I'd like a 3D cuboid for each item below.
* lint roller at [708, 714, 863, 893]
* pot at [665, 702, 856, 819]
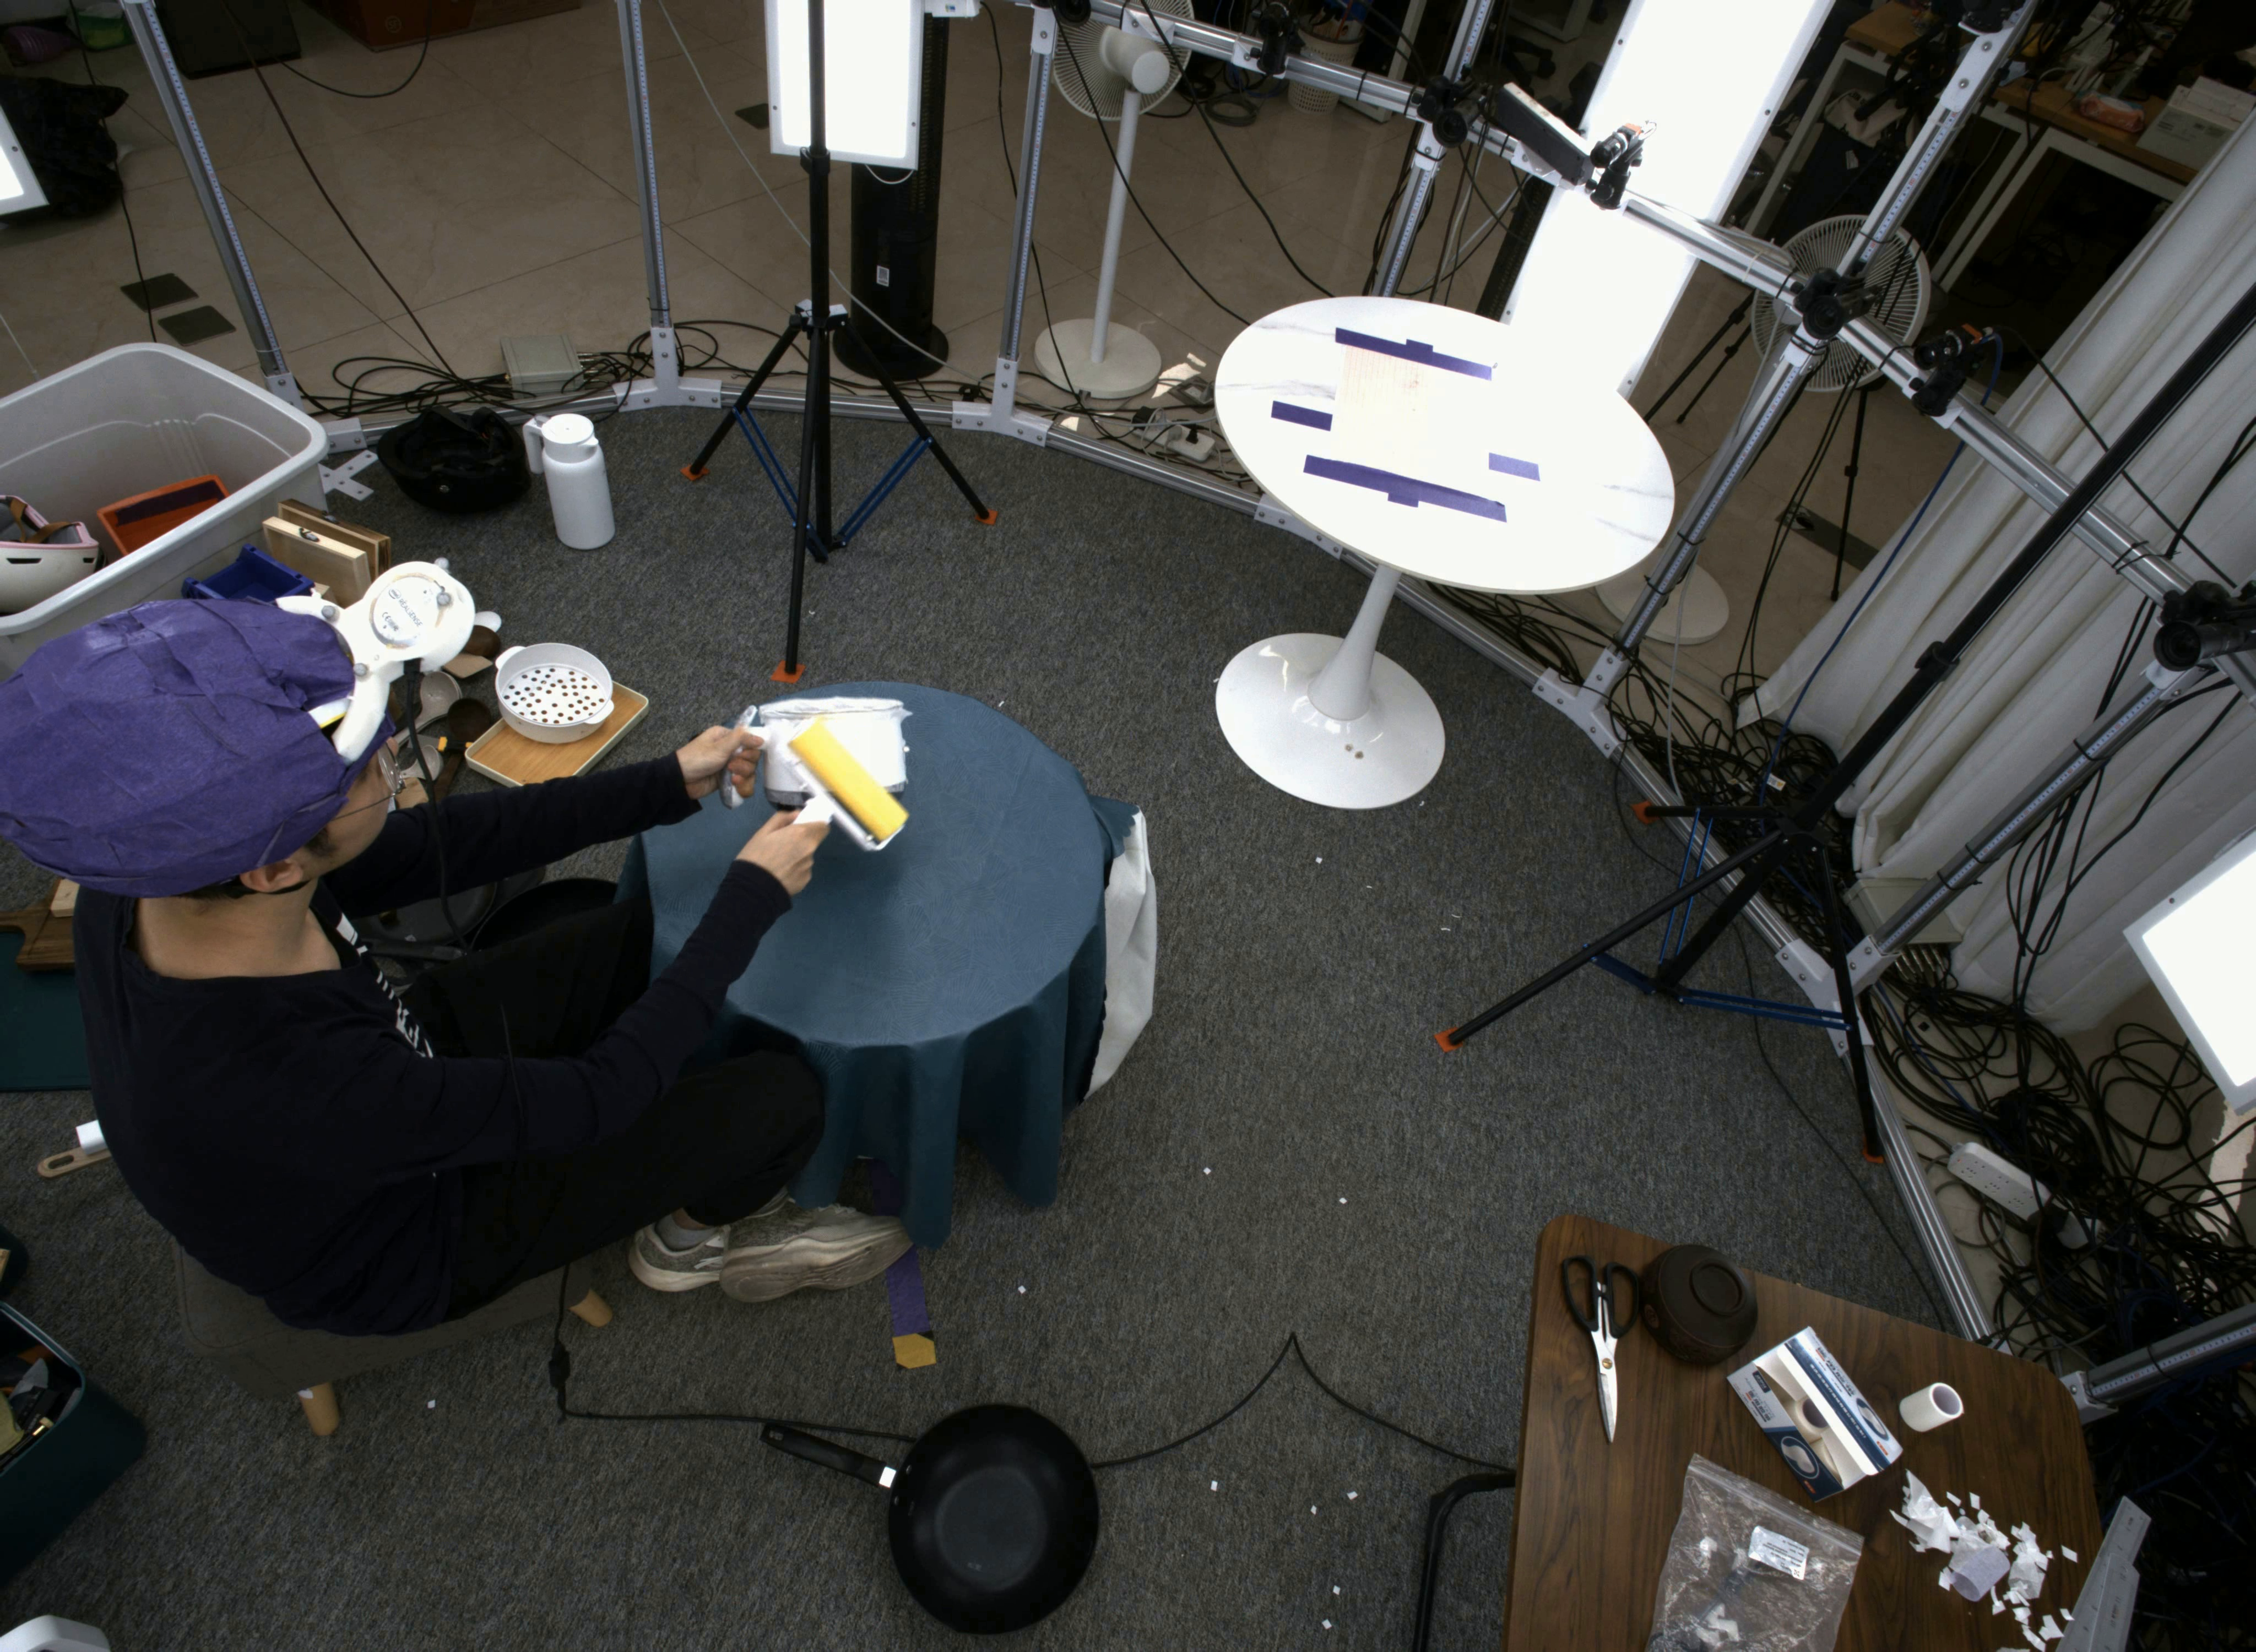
[{"bbox_3d":[-0.412,-0.005,1.476,0.180,0.050,0.190,48,49,-26],"label":"lint roller"},{"bbox_3d":[-0.453,-0.084,1.593,0.237,0.173,0.139,-6,99,-32],"label":"pot"}]
